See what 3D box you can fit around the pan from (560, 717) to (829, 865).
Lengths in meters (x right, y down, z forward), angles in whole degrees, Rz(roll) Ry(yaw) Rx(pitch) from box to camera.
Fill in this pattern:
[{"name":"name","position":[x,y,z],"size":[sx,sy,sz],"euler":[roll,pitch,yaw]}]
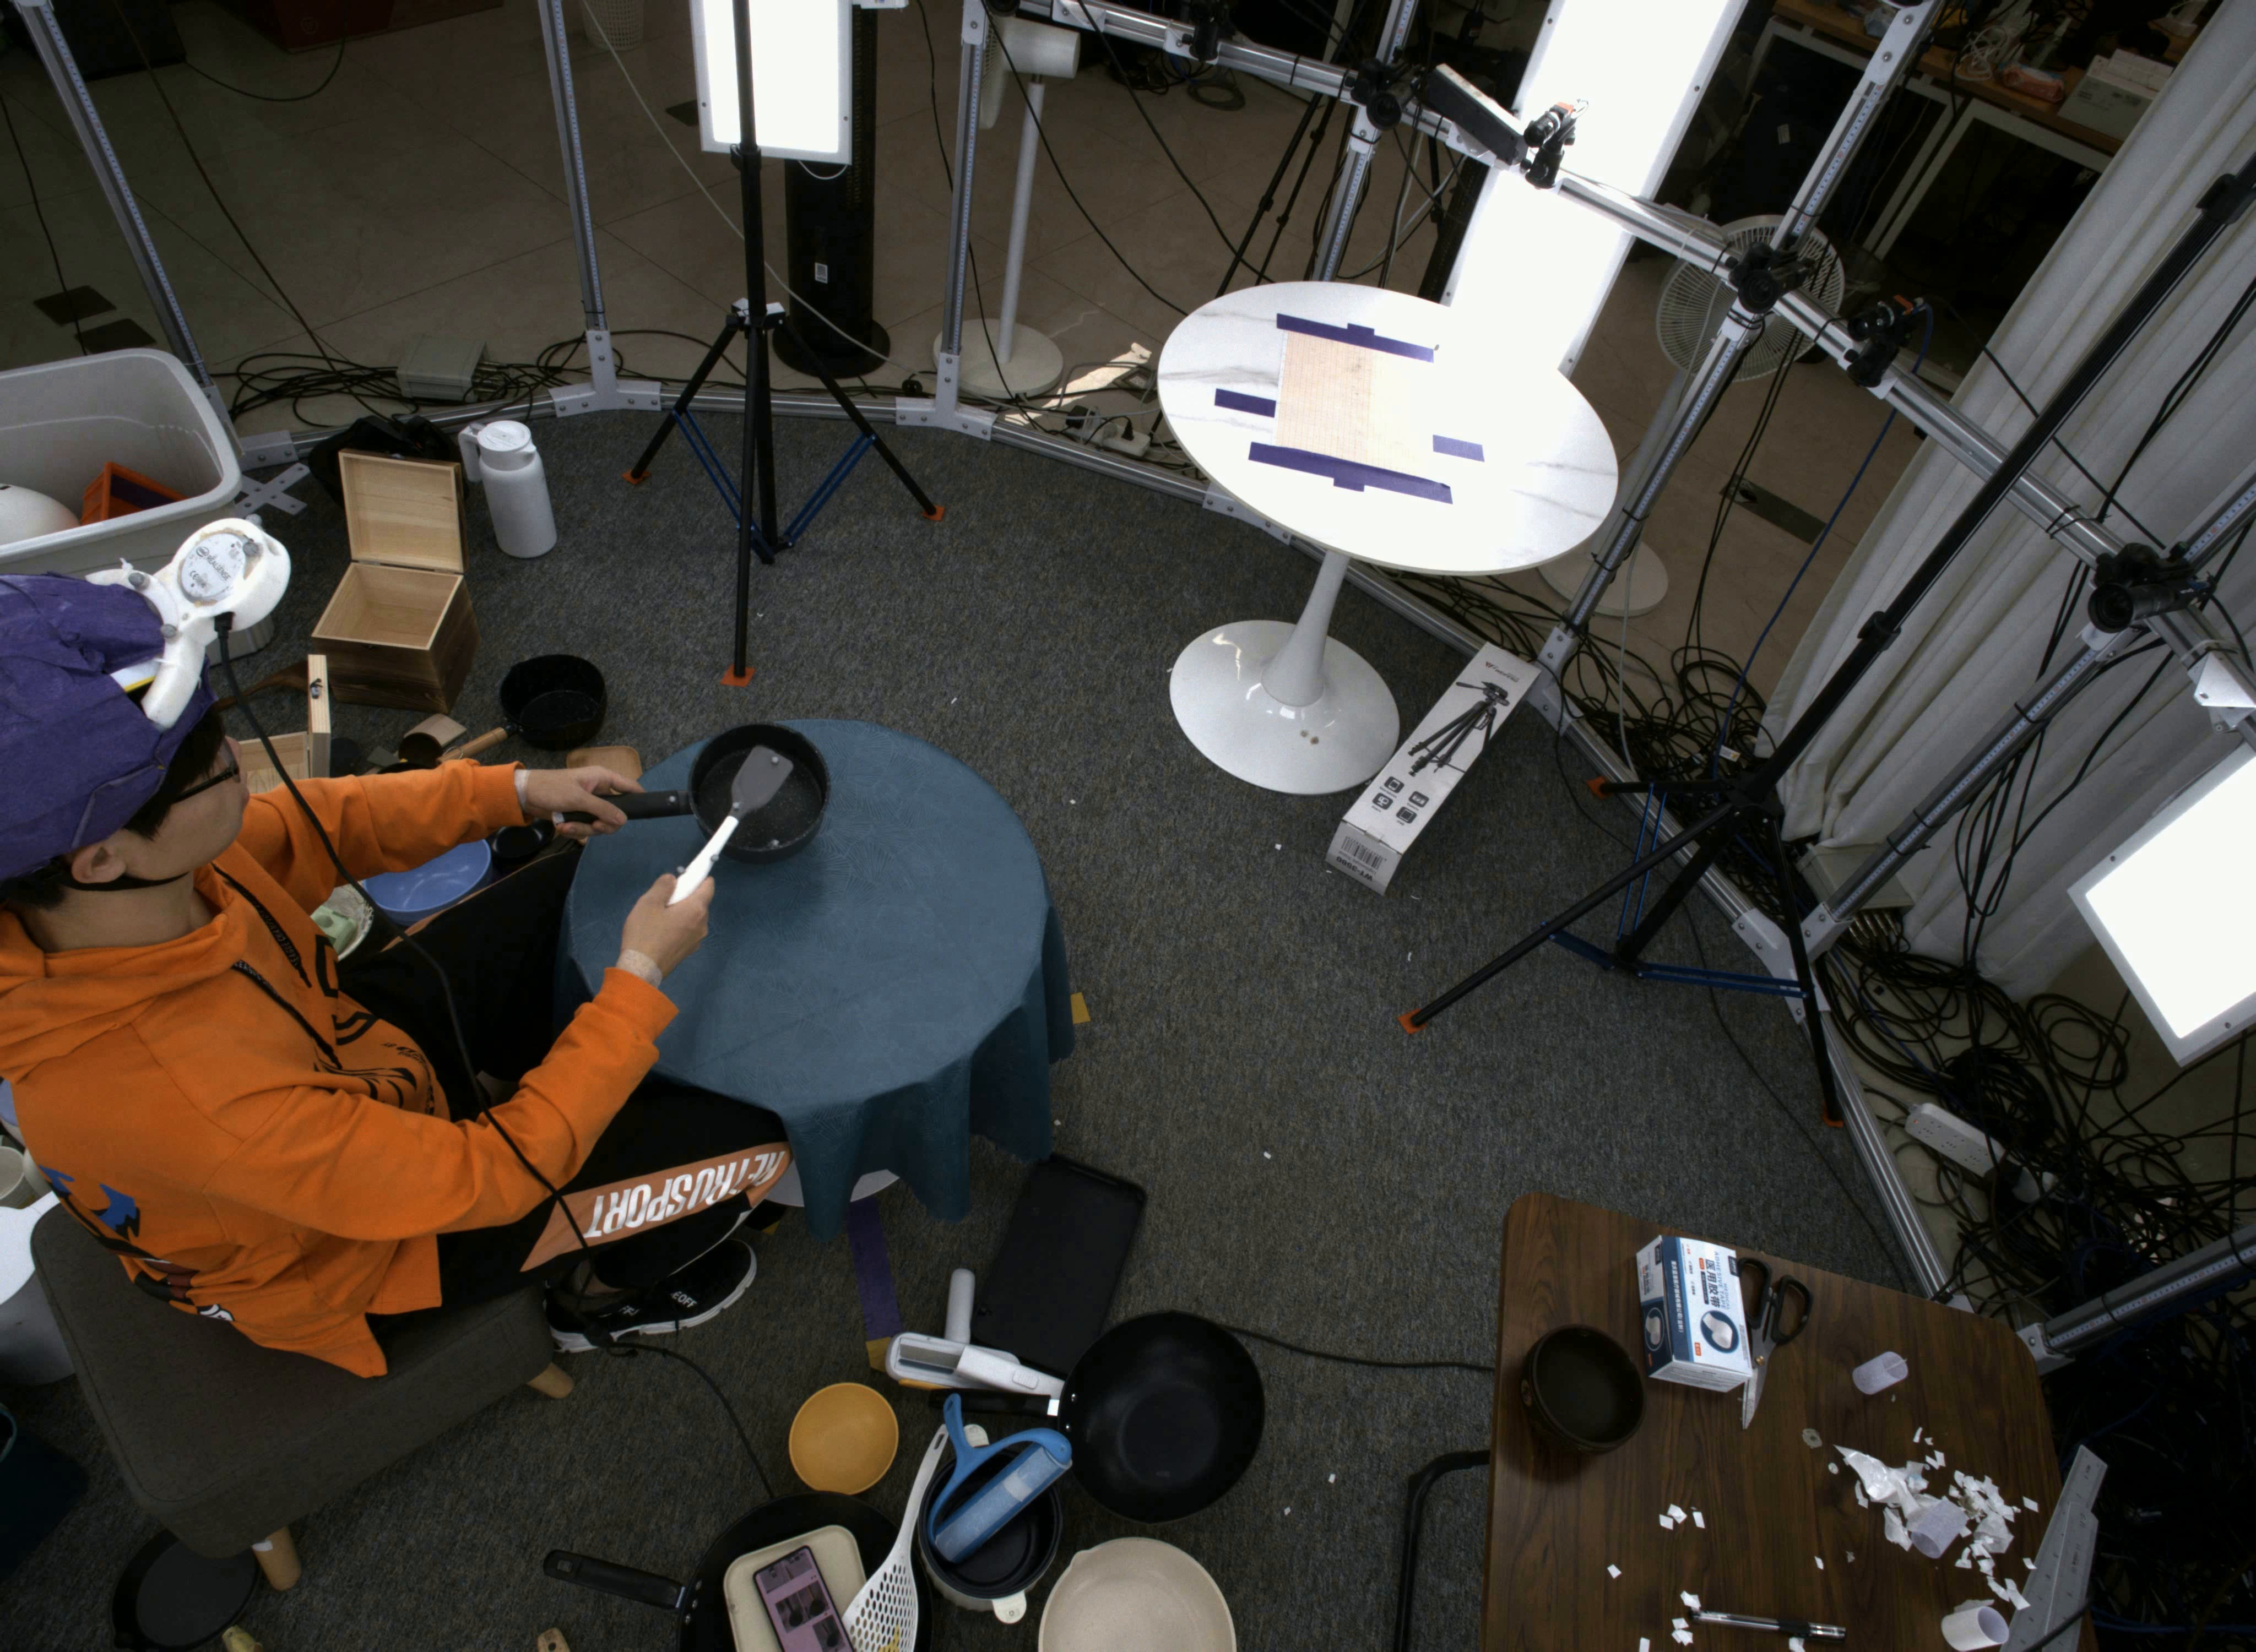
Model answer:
[{"name":"pan","position":[-0.534,-0.032,1.577],"size":[0.330,0.086,0.171],"euler":[-6,73,-21]}]

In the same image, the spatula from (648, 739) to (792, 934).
[{"name":"spatula","position":[-0.466,0.006,1.471],"size":[0.059,0.032,0.284],"euler":[27,46,-8]}]
